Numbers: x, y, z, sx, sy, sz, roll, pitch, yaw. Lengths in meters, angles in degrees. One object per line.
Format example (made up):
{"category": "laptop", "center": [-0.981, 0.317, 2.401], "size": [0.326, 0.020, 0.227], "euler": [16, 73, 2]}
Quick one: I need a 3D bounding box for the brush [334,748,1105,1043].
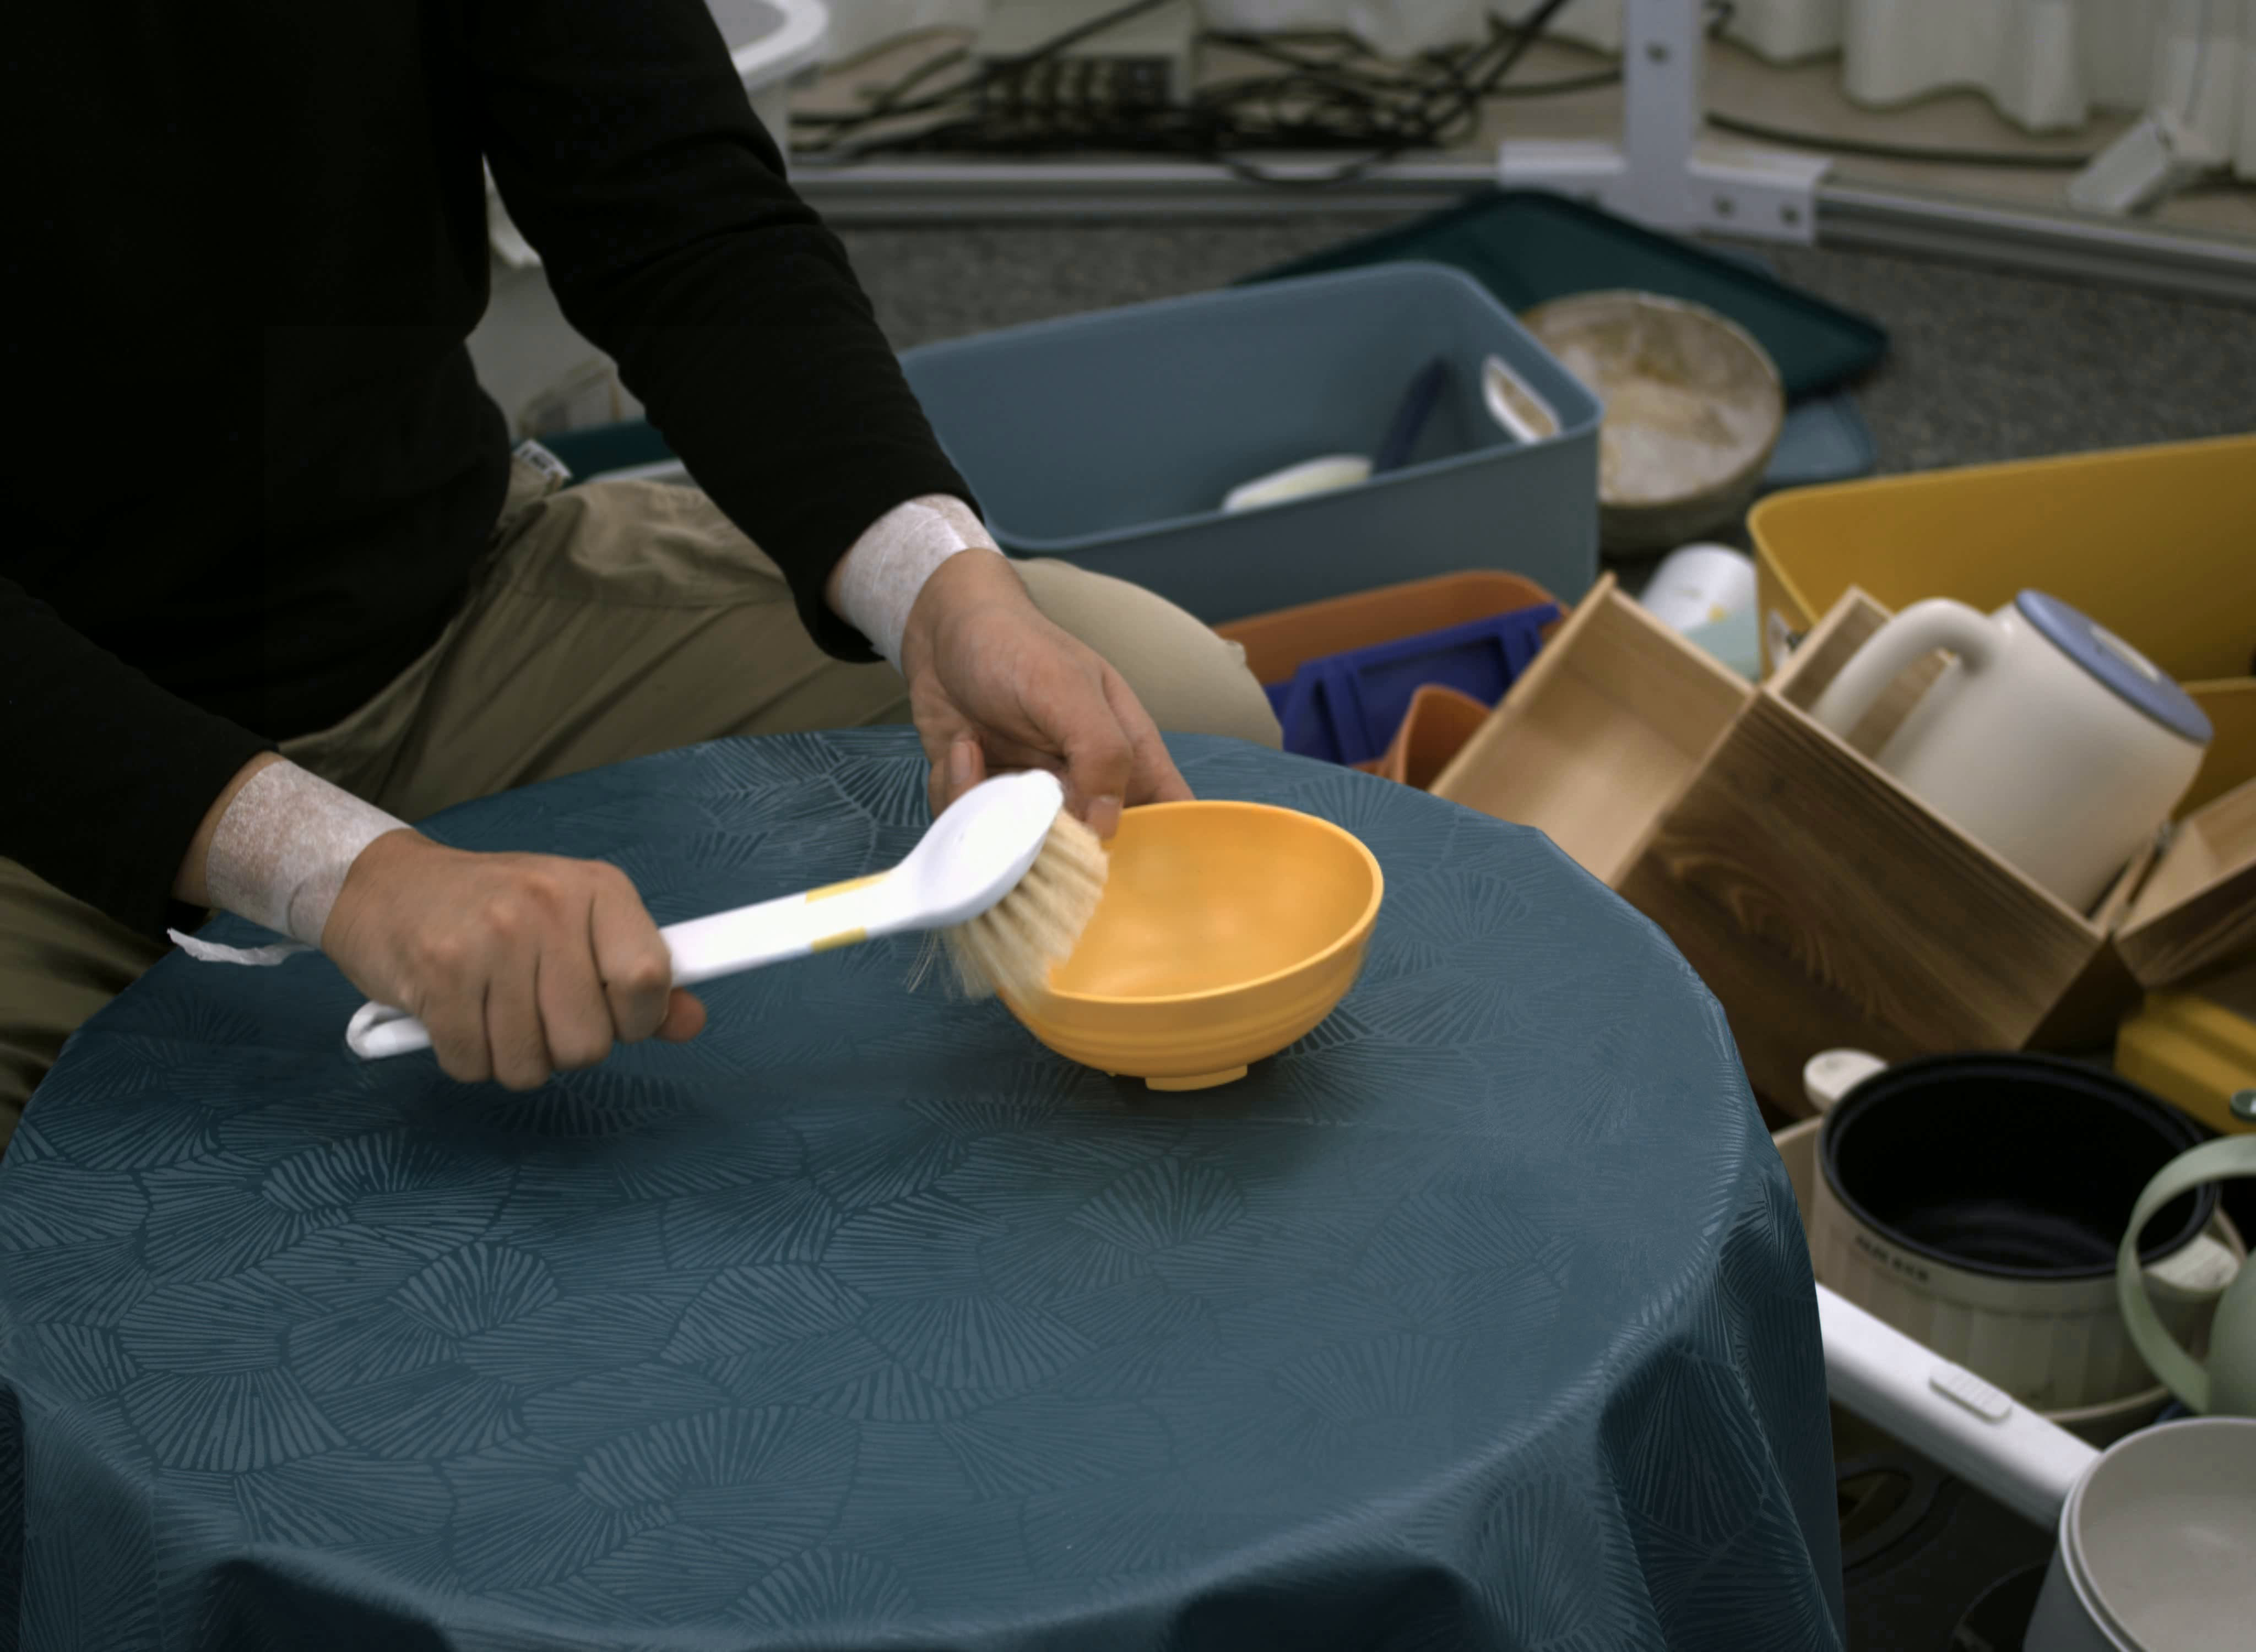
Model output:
{"category": "brush", "center": [-0.135, 0.043, 1.900], "size": [0.265, 0.055, 0.069], "euler": [-19, 28, 3]}

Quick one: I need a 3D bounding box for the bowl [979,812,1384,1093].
{"category": "bowl", "center": [0.017, 0.051, 1.931], "size": [0.144, 0.059, 0.147], "euler": [-3, 24, 2]}
